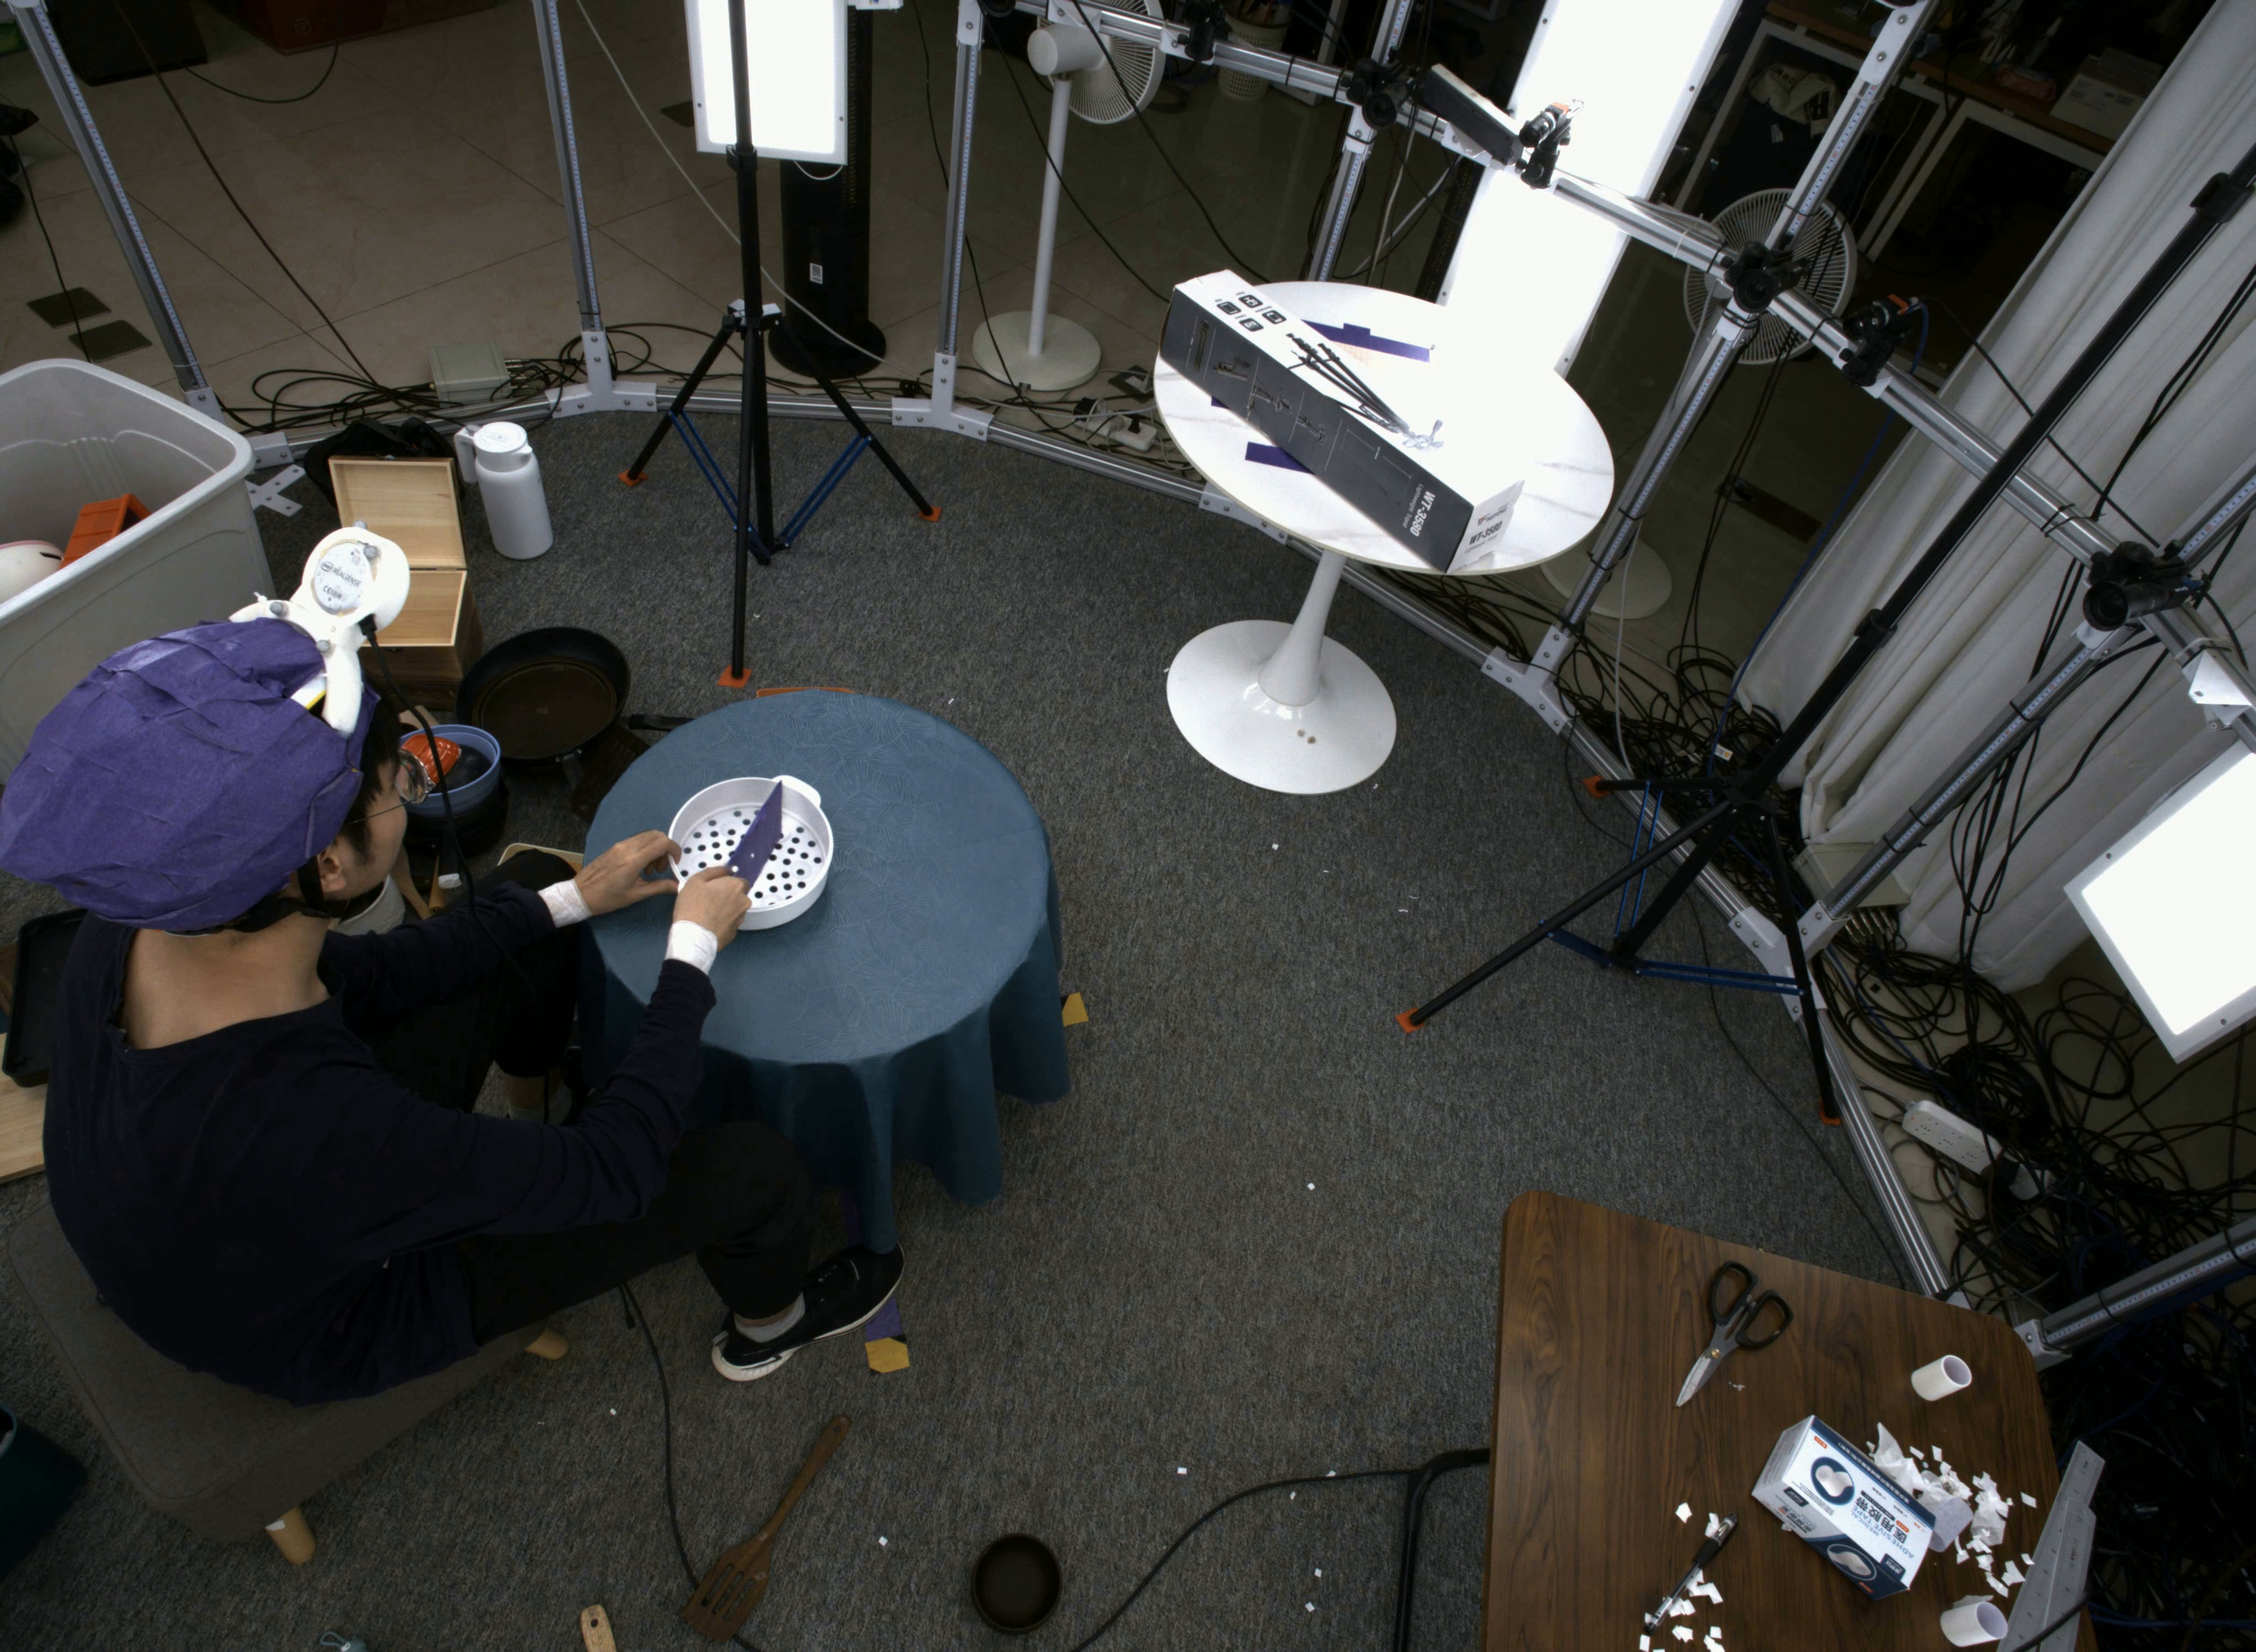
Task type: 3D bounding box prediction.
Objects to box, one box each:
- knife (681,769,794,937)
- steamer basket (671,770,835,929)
[{"bbox_3d":[-0.457,0.051,1.550,0.032,0.107,0.310,9,33,4],"label":"knife"},{"bbox_3d":[-0.475,0.032,1.648,0.200,0.070,0.229,30,57,3],"label":"steamer basket"}]
